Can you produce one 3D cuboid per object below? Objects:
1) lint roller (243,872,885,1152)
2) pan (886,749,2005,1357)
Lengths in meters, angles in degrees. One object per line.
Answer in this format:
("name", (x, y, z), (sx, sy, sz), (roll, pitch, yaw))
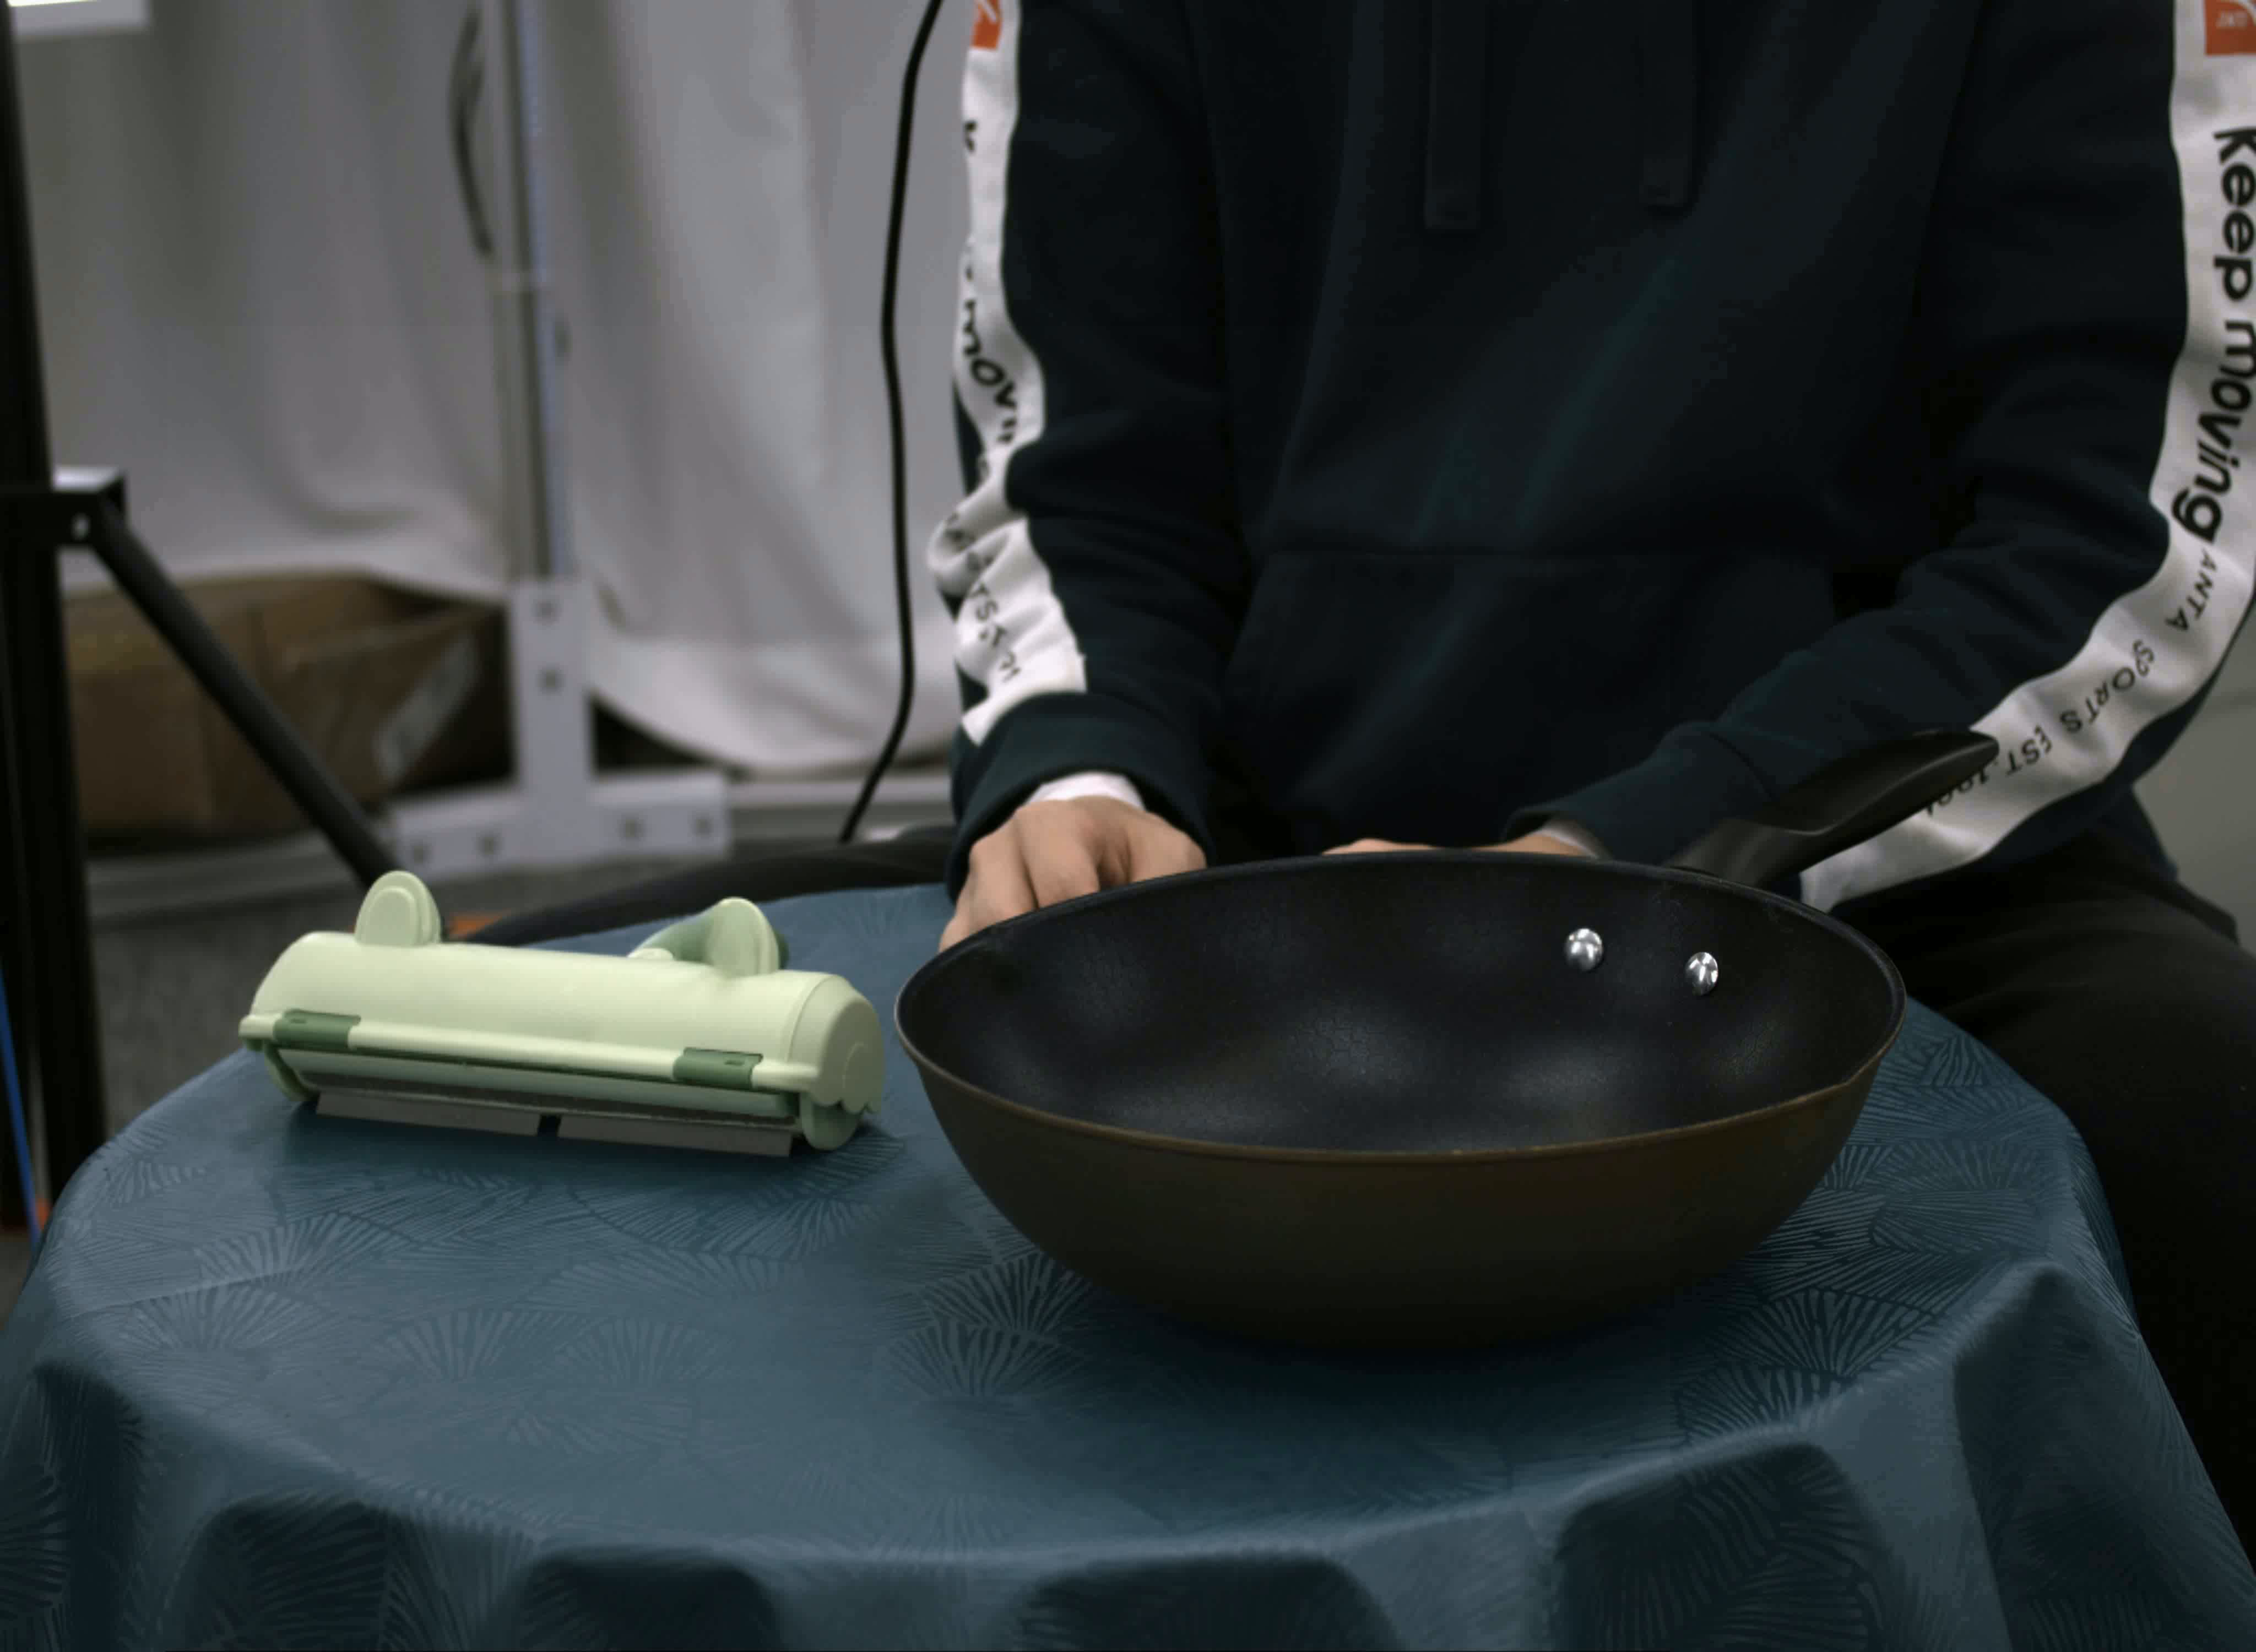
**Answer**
("lint roller", (-0.153, 0.040, 1.686), (0.201, 0.082, 0.181), (4, 22, 23))
("pan", (0.128, 0.062, 1.546), (0.294, 0.087, 0.453), (10, 19, 37))
